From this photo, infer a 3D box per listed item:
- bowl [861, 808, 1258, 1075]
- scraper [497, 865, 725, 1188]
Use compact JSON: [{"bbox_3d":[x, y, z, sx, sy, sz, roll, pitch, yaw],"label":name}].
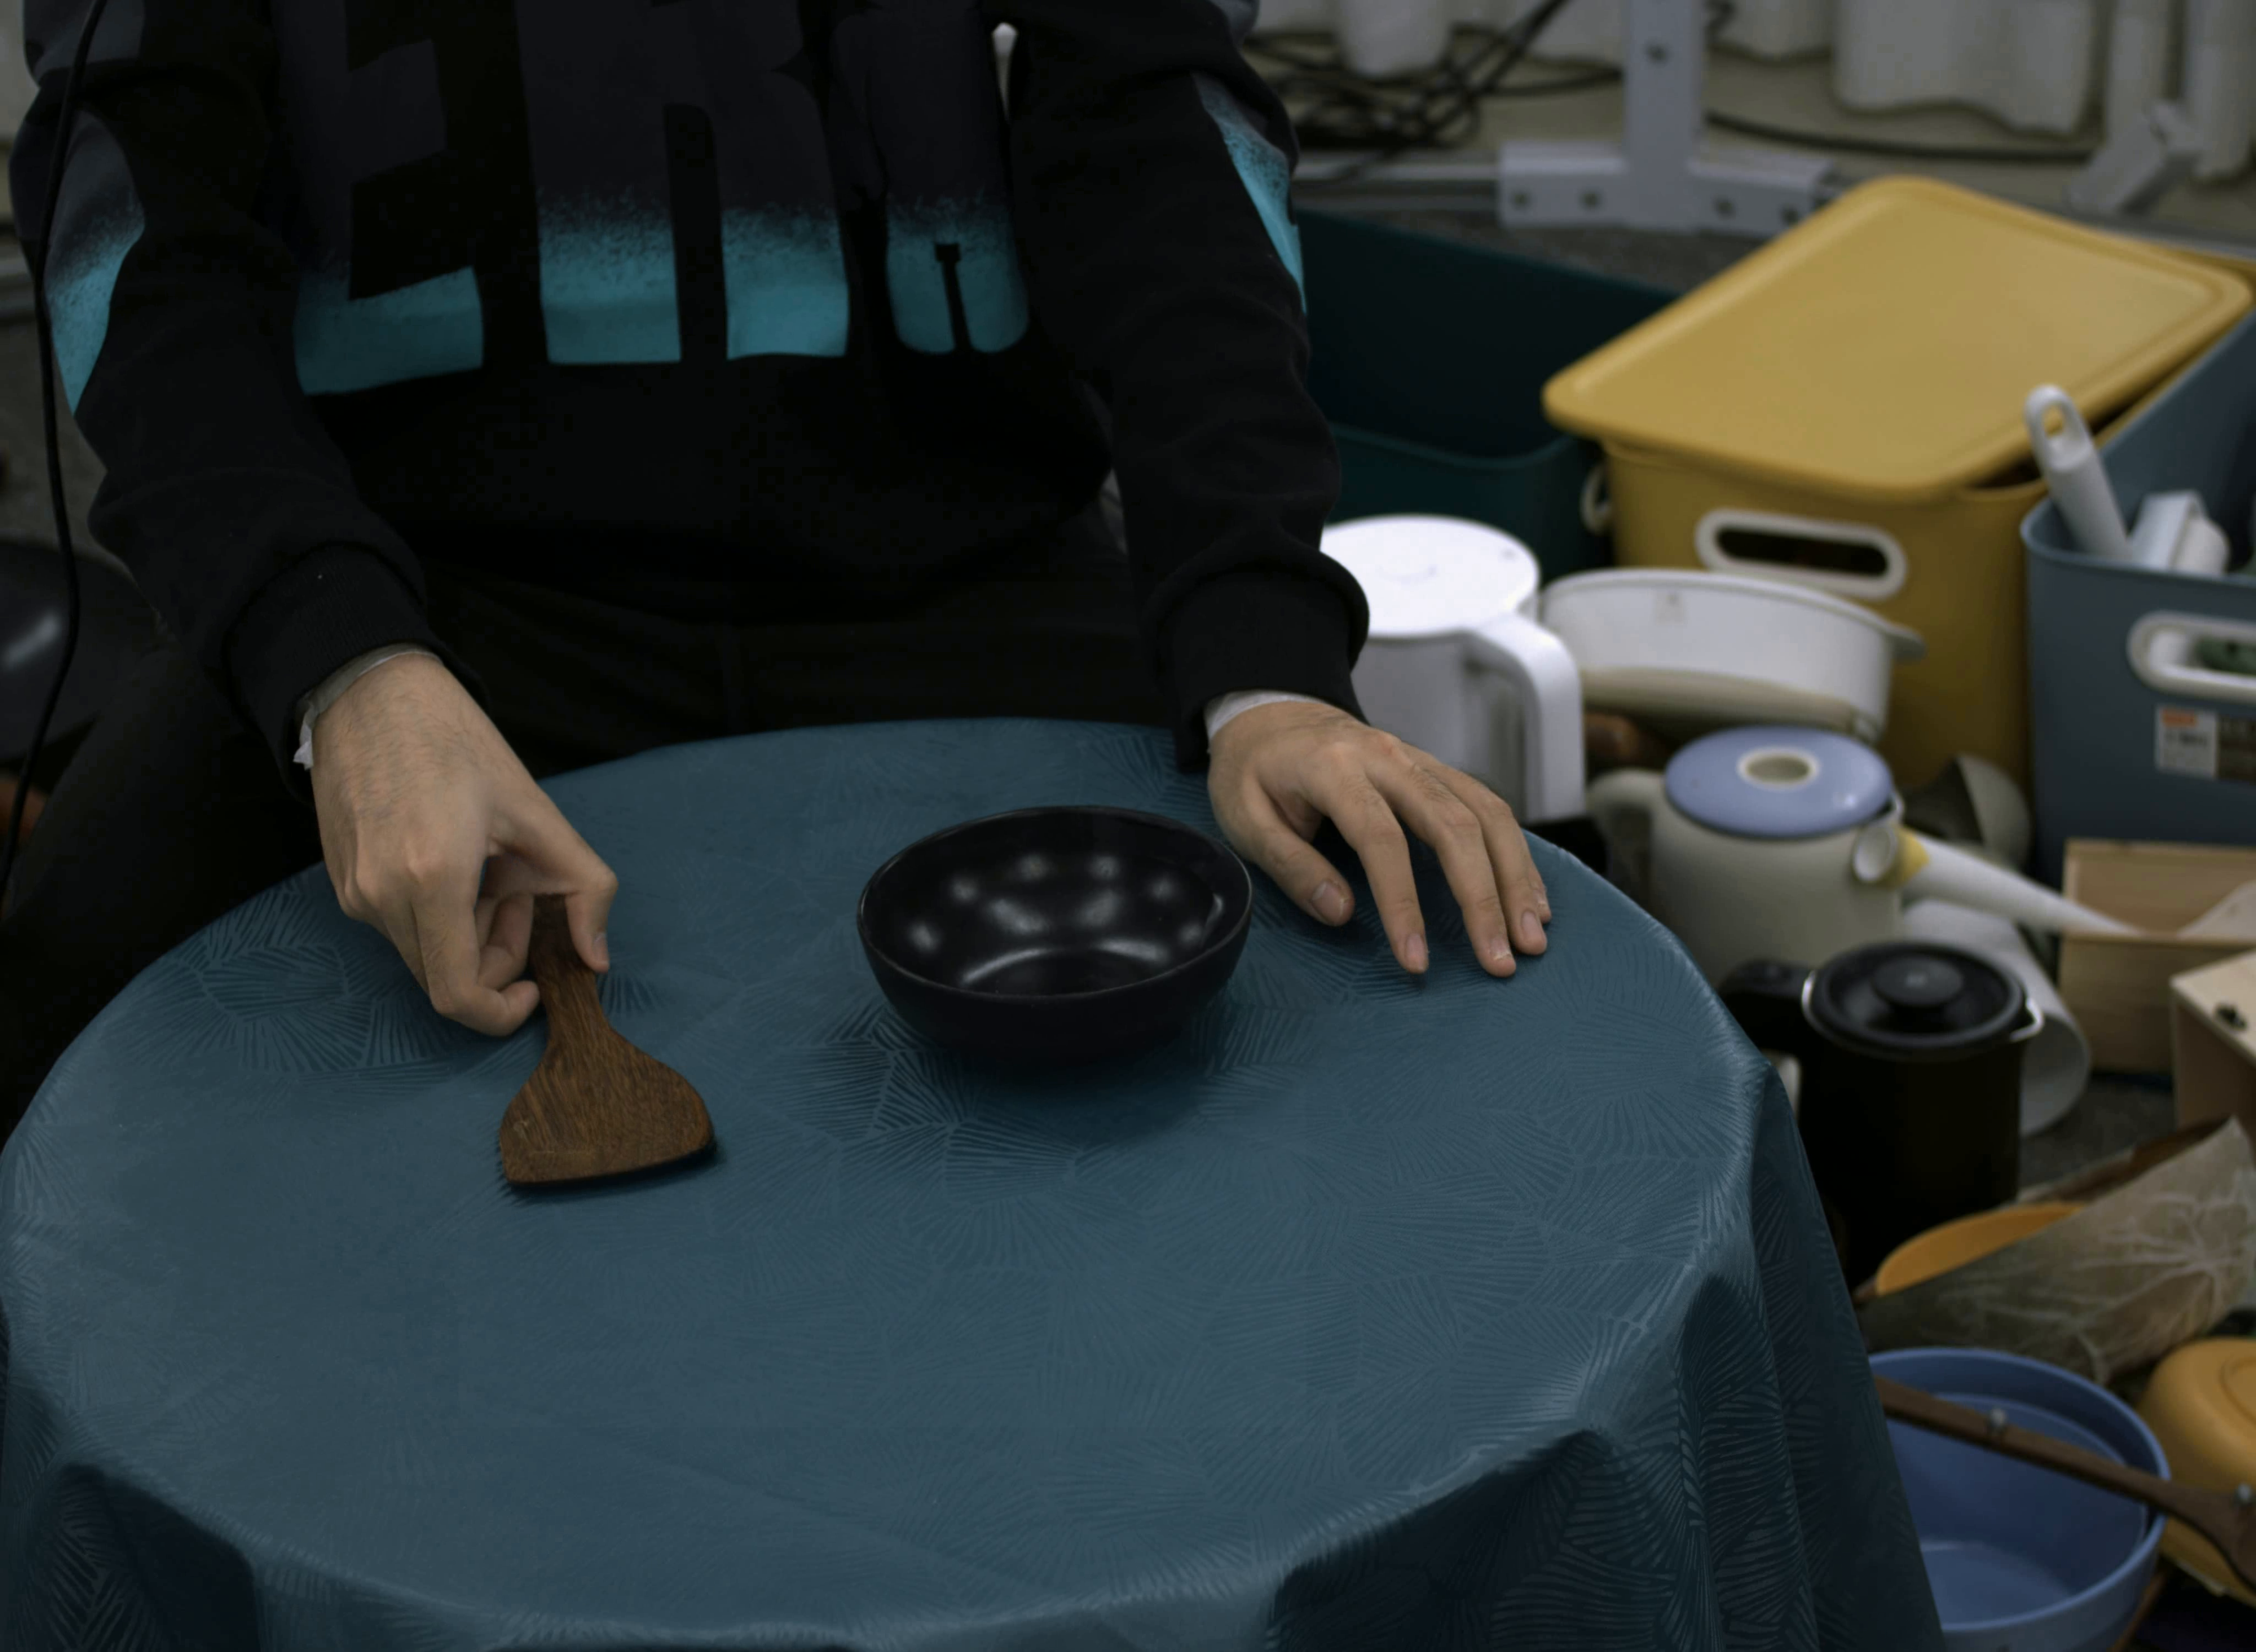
[{"bbox_3d":[-0.022,0.048,1.955,0.139,0.049,0.142,-5,27,3],"label":"bowl"},{"bbox_3d":[-0.192,0.069,1.966,0.076,0.010,0.214,-8,31,-10],"label":"scraper"}]
